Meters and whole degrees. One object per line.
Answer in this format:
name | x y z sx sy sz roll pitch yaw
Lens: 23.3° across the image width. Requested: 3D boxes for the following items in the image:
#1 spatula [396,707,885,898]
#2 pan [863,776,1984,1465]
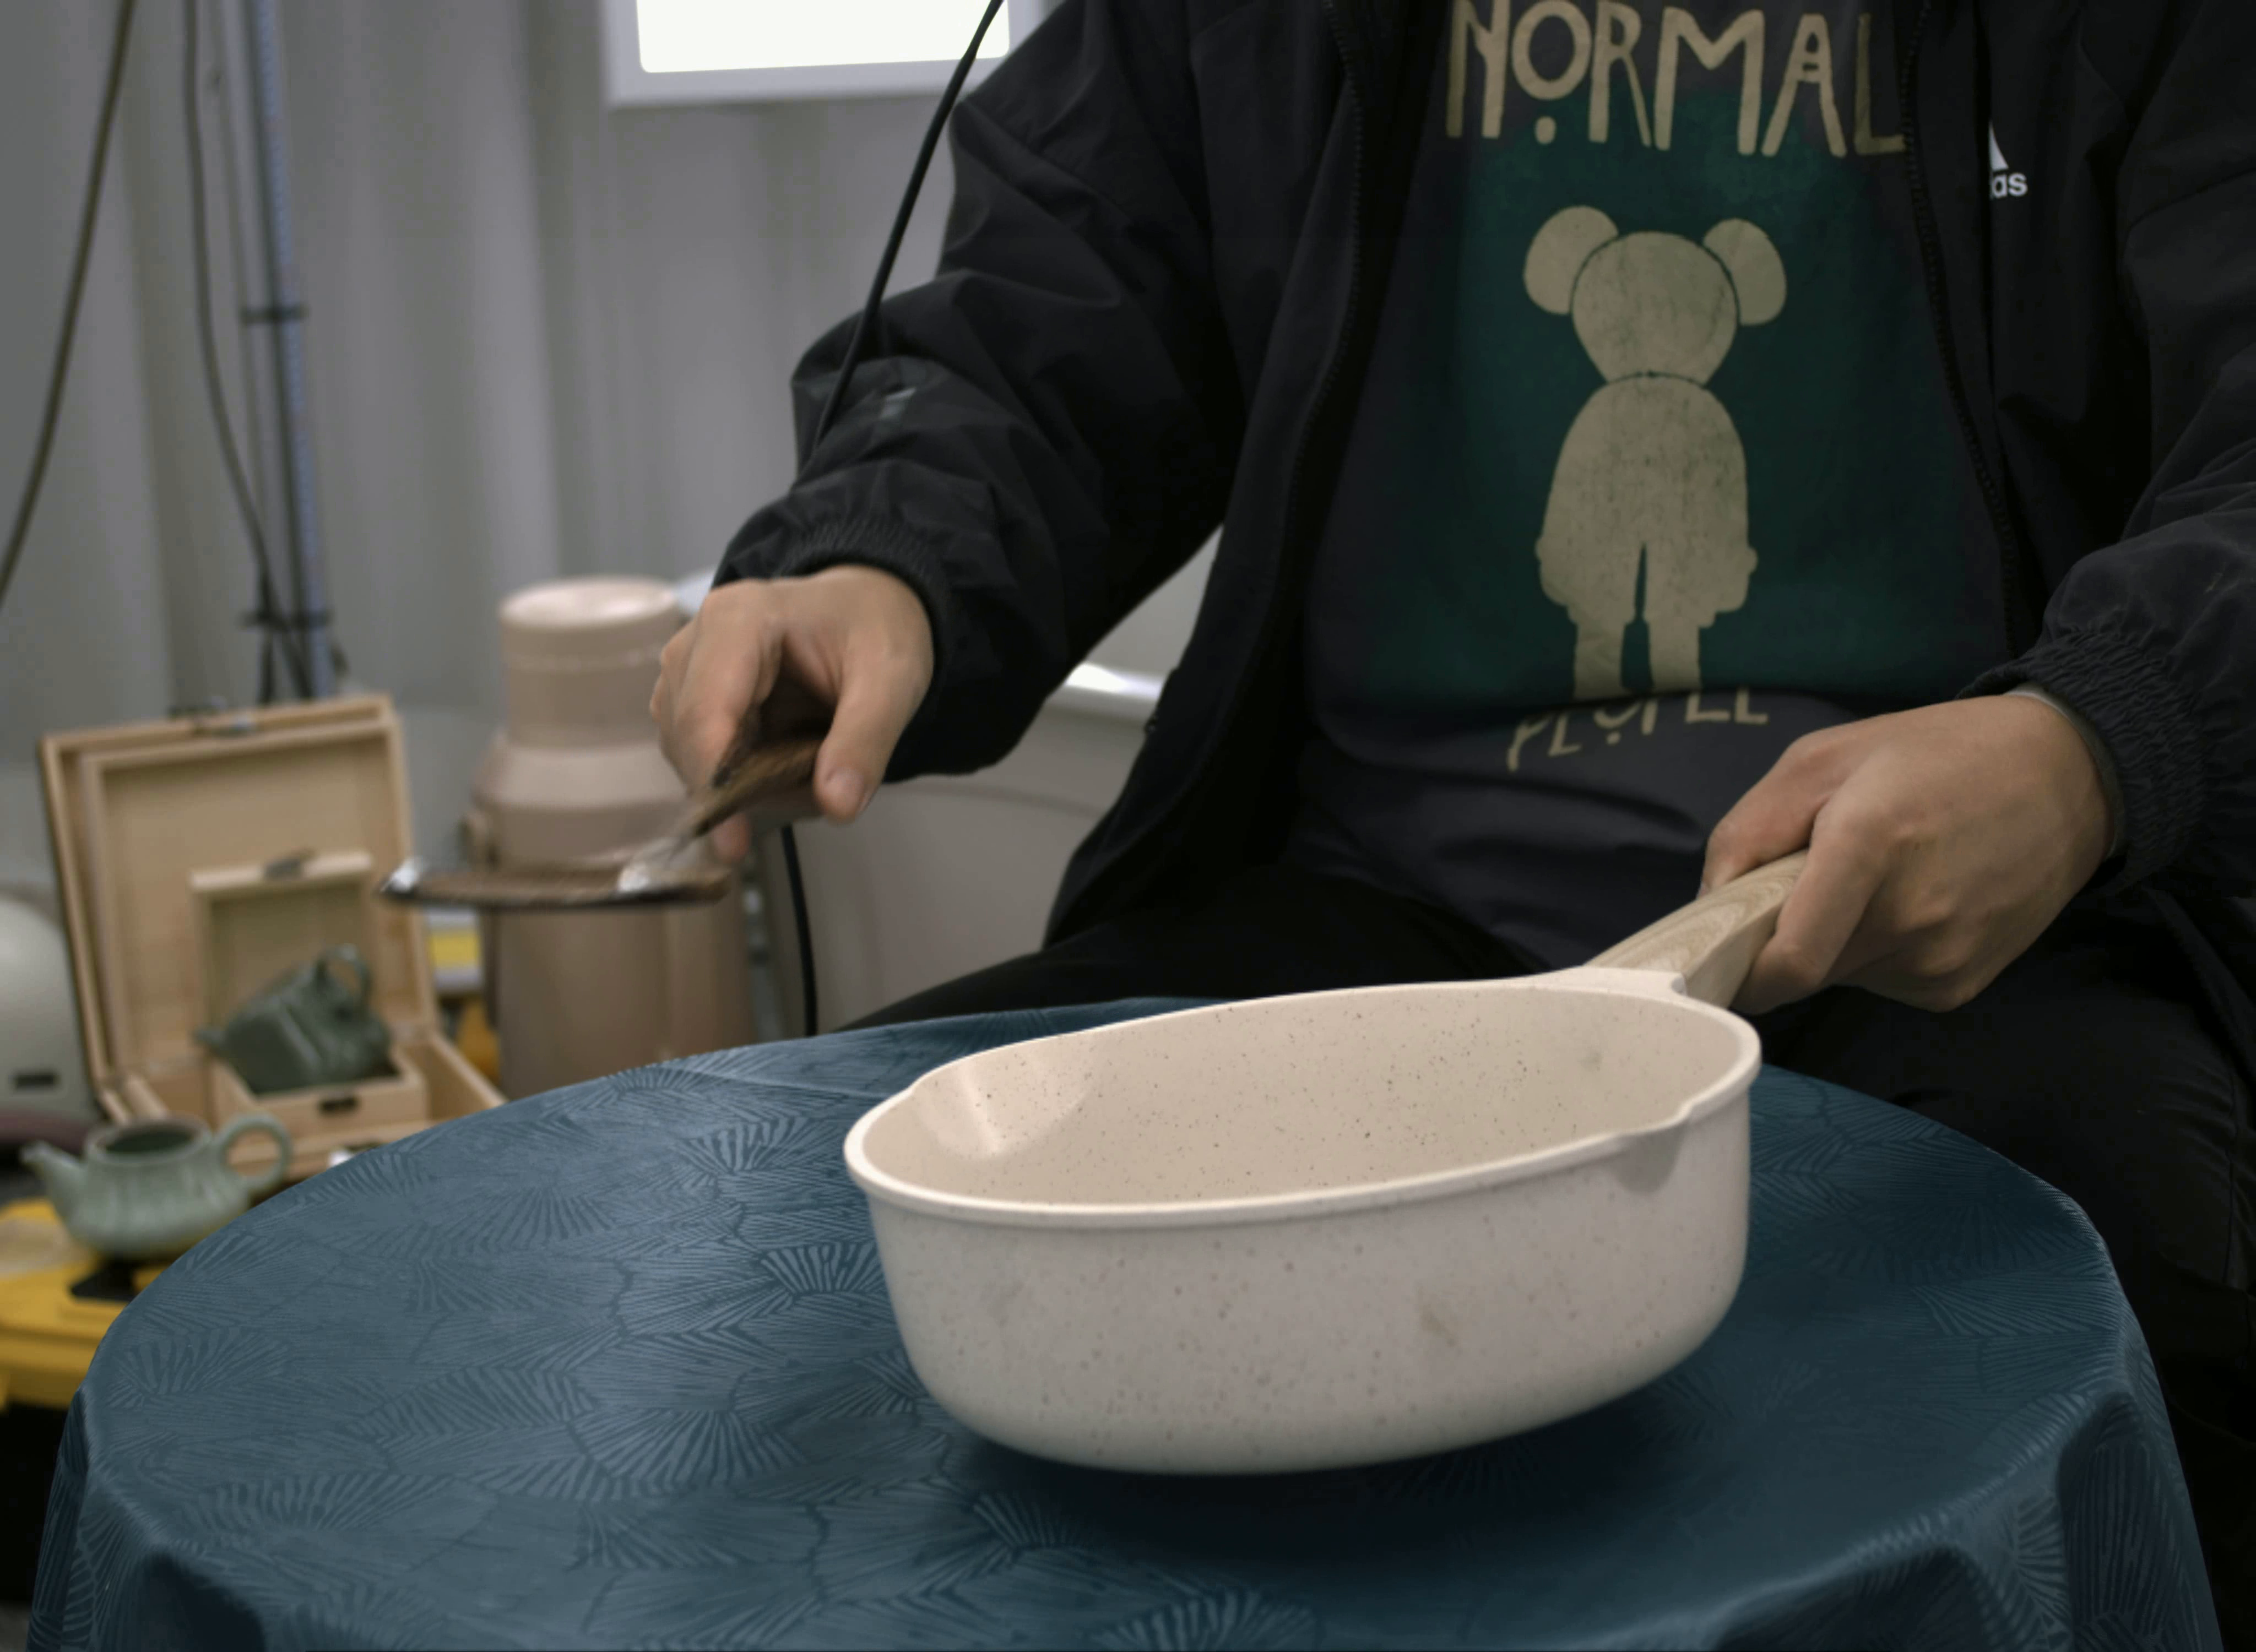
spatula | -0.127 -0.010 1.678 0.096 0.016 0.387 1 9 10
pan | 0.119 0.081 1.552 0.264 0.102 0.434 0 12 45
